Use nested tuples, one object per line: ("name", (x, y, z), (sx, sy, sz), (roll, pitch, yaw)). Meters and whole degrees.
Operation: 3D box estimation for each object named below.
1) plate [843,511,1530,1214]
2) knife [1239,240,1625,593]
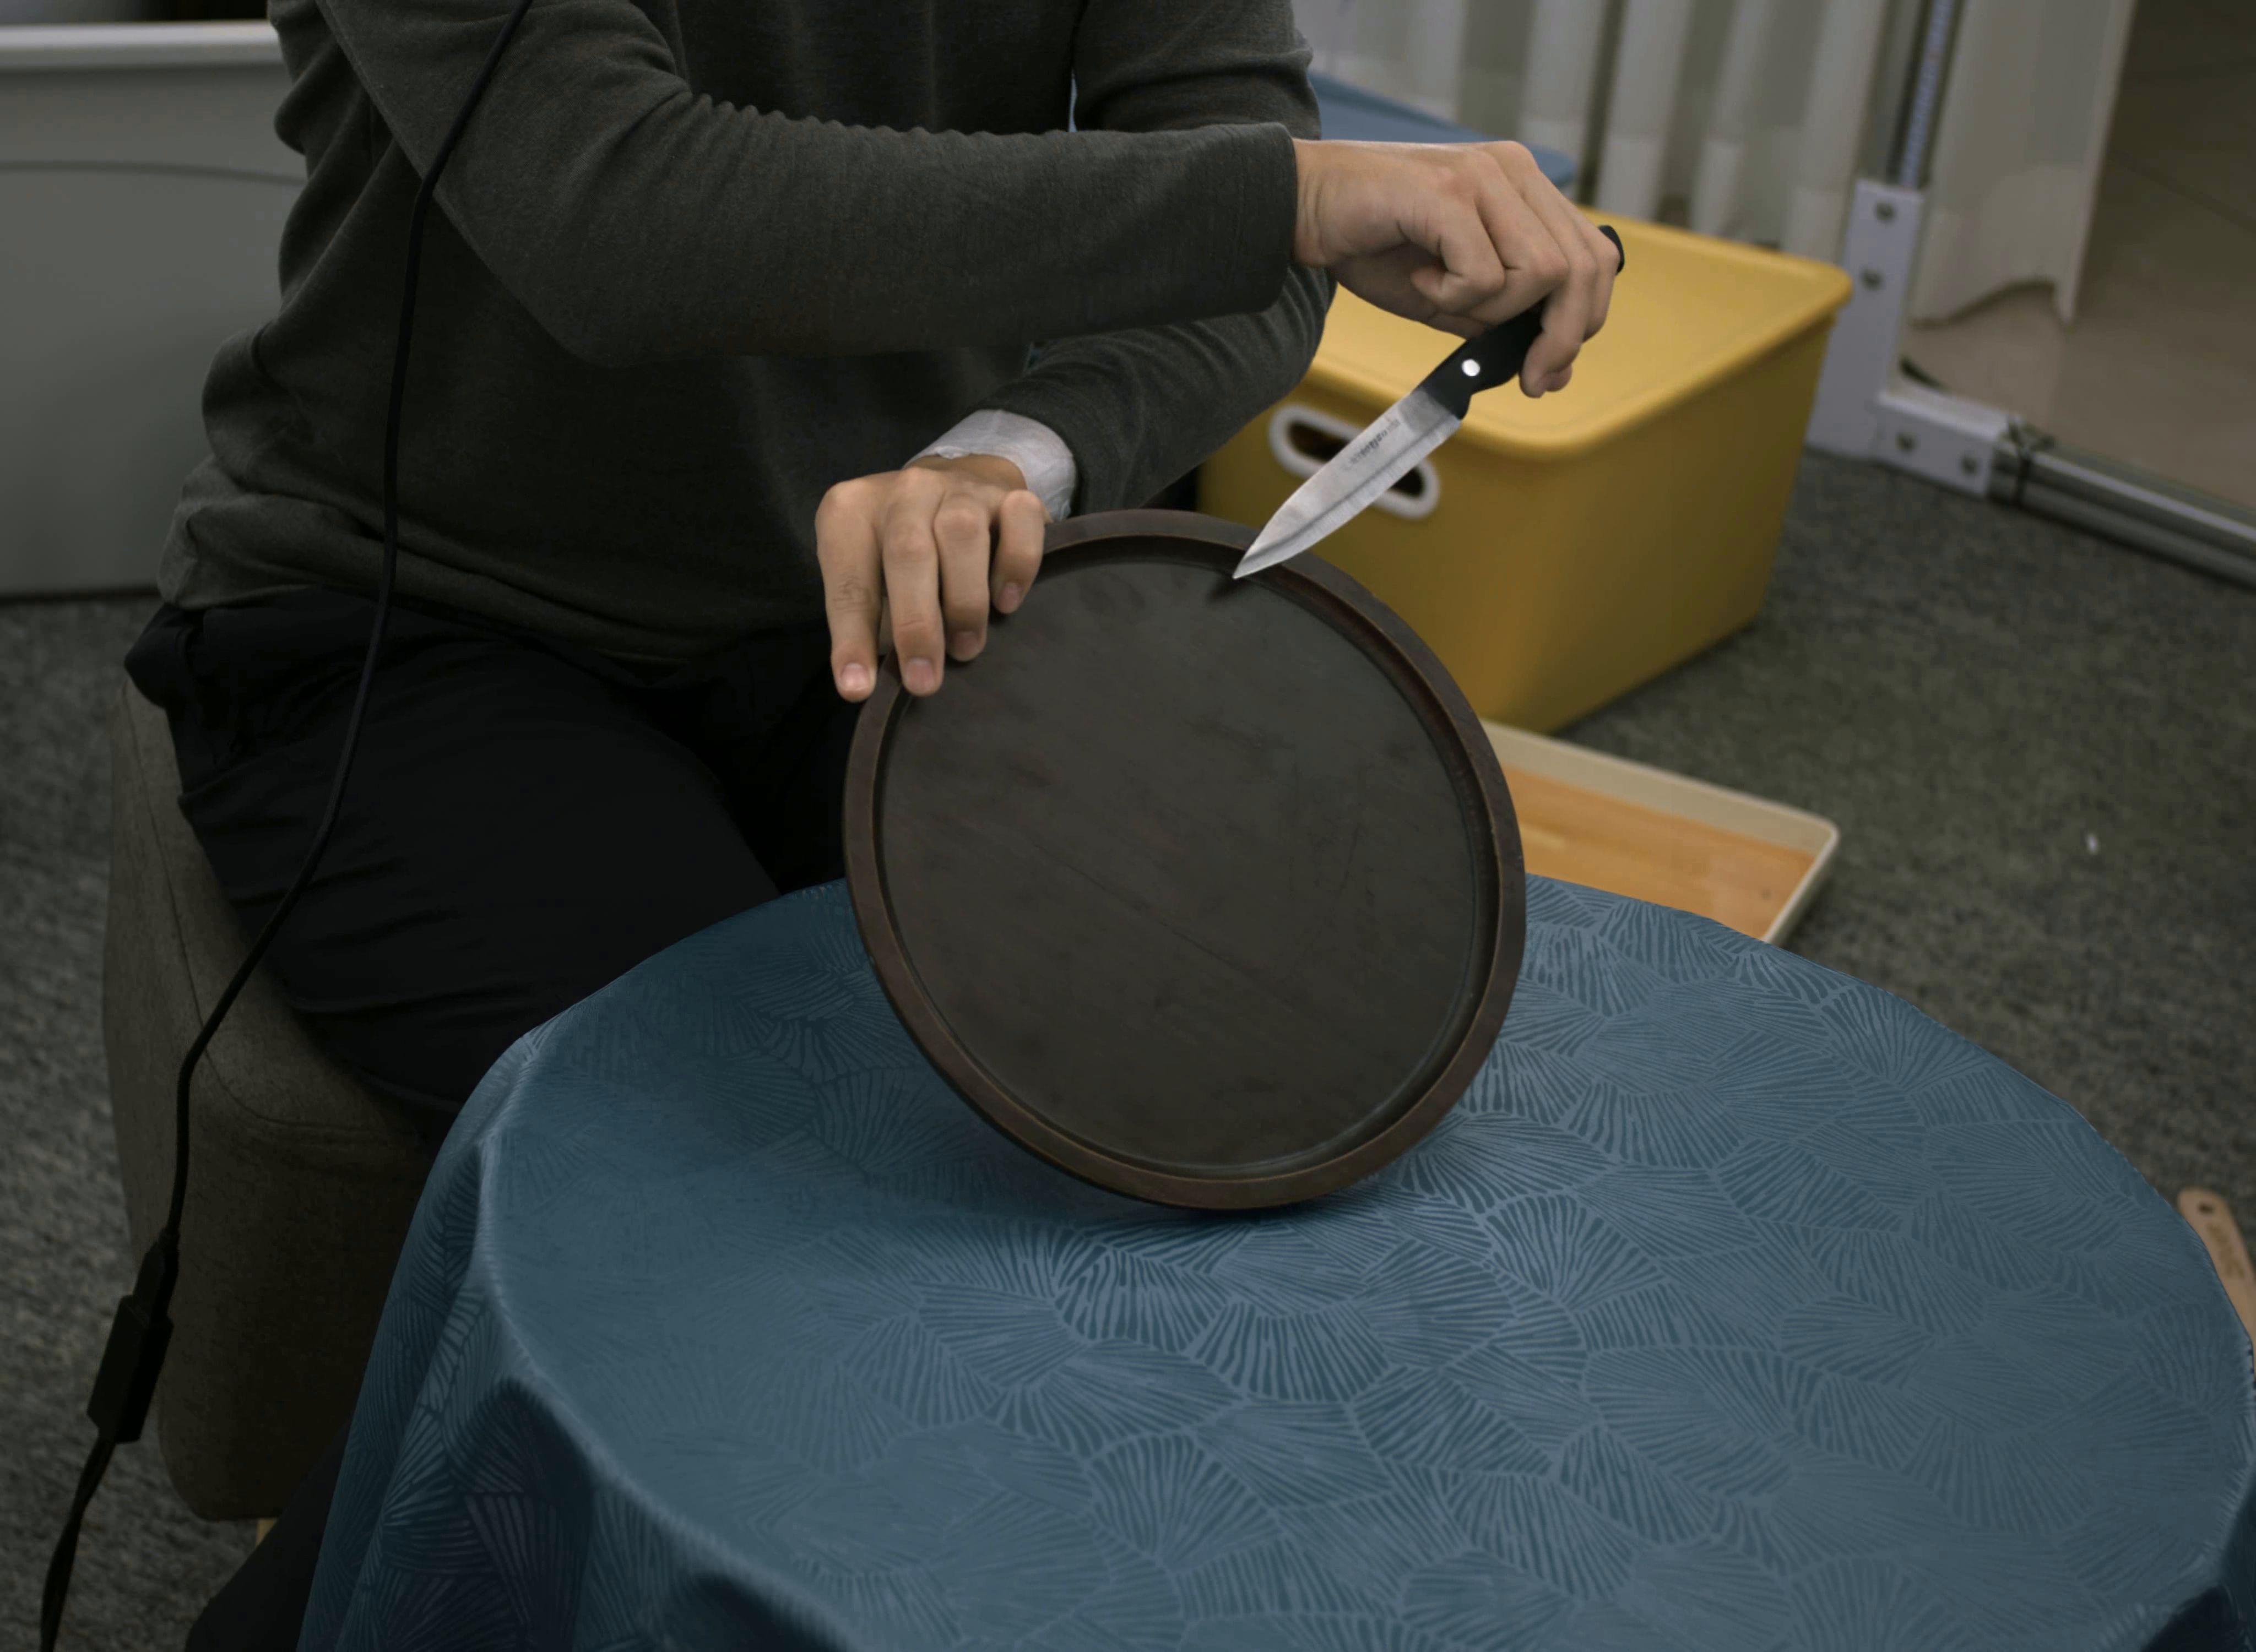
("plate", (0.020, 0.012, 1.836), (0.253, 0.029, 0.256), (8, 68, -20))
("knife", (0.109, -0.150, 1.931), (0.024, 0.016, 0.238), (51, 55, -5))
